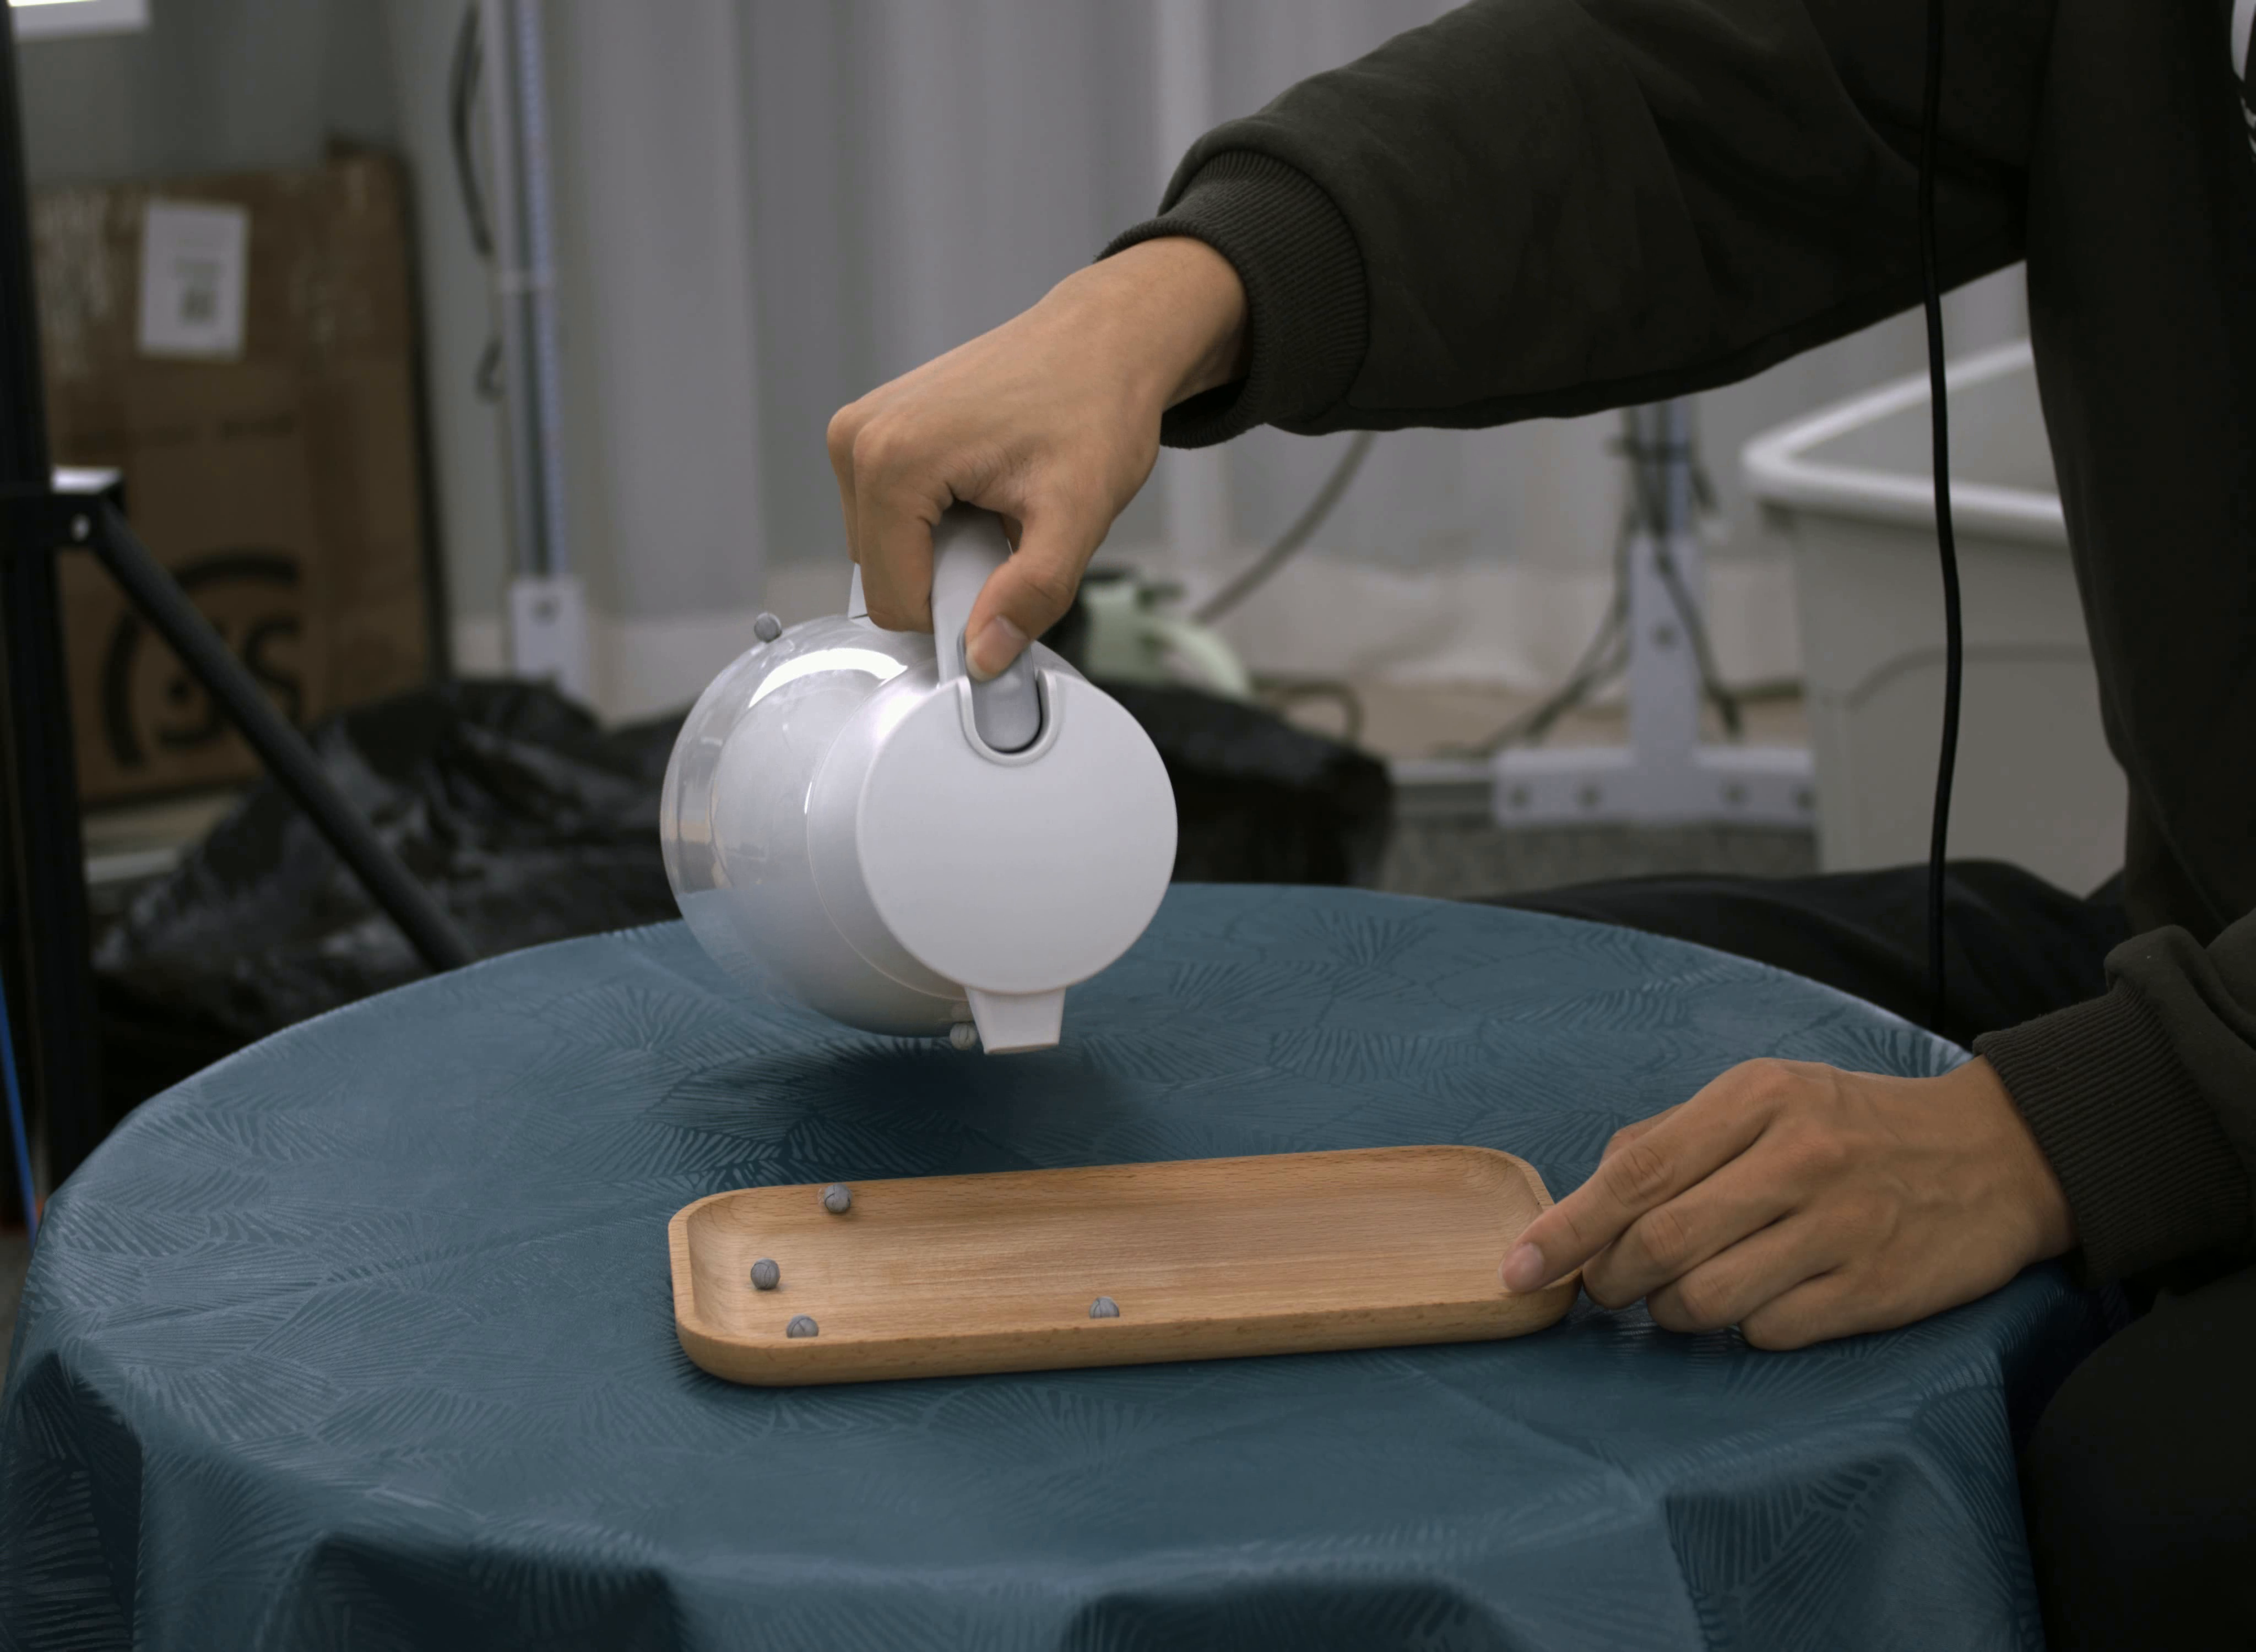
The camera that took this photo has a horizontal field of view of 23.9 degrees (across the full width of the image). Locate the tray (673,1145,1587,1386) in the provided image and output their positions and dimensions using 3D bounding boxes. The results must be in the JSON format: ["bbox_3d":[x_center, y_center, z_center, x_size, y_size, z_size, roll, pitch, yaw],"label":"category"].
[{"bbox_3d":[-0.001,0.122,1.481,0.249,0.023,0.131,-2,18,-3],"label":"tray"}]

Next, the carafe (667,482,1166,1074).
[{"bbox_3d":[-0.061,-0.017,1.583,0.131,0.168,0.250,-8,3,-10],"label":"carafe"}]
